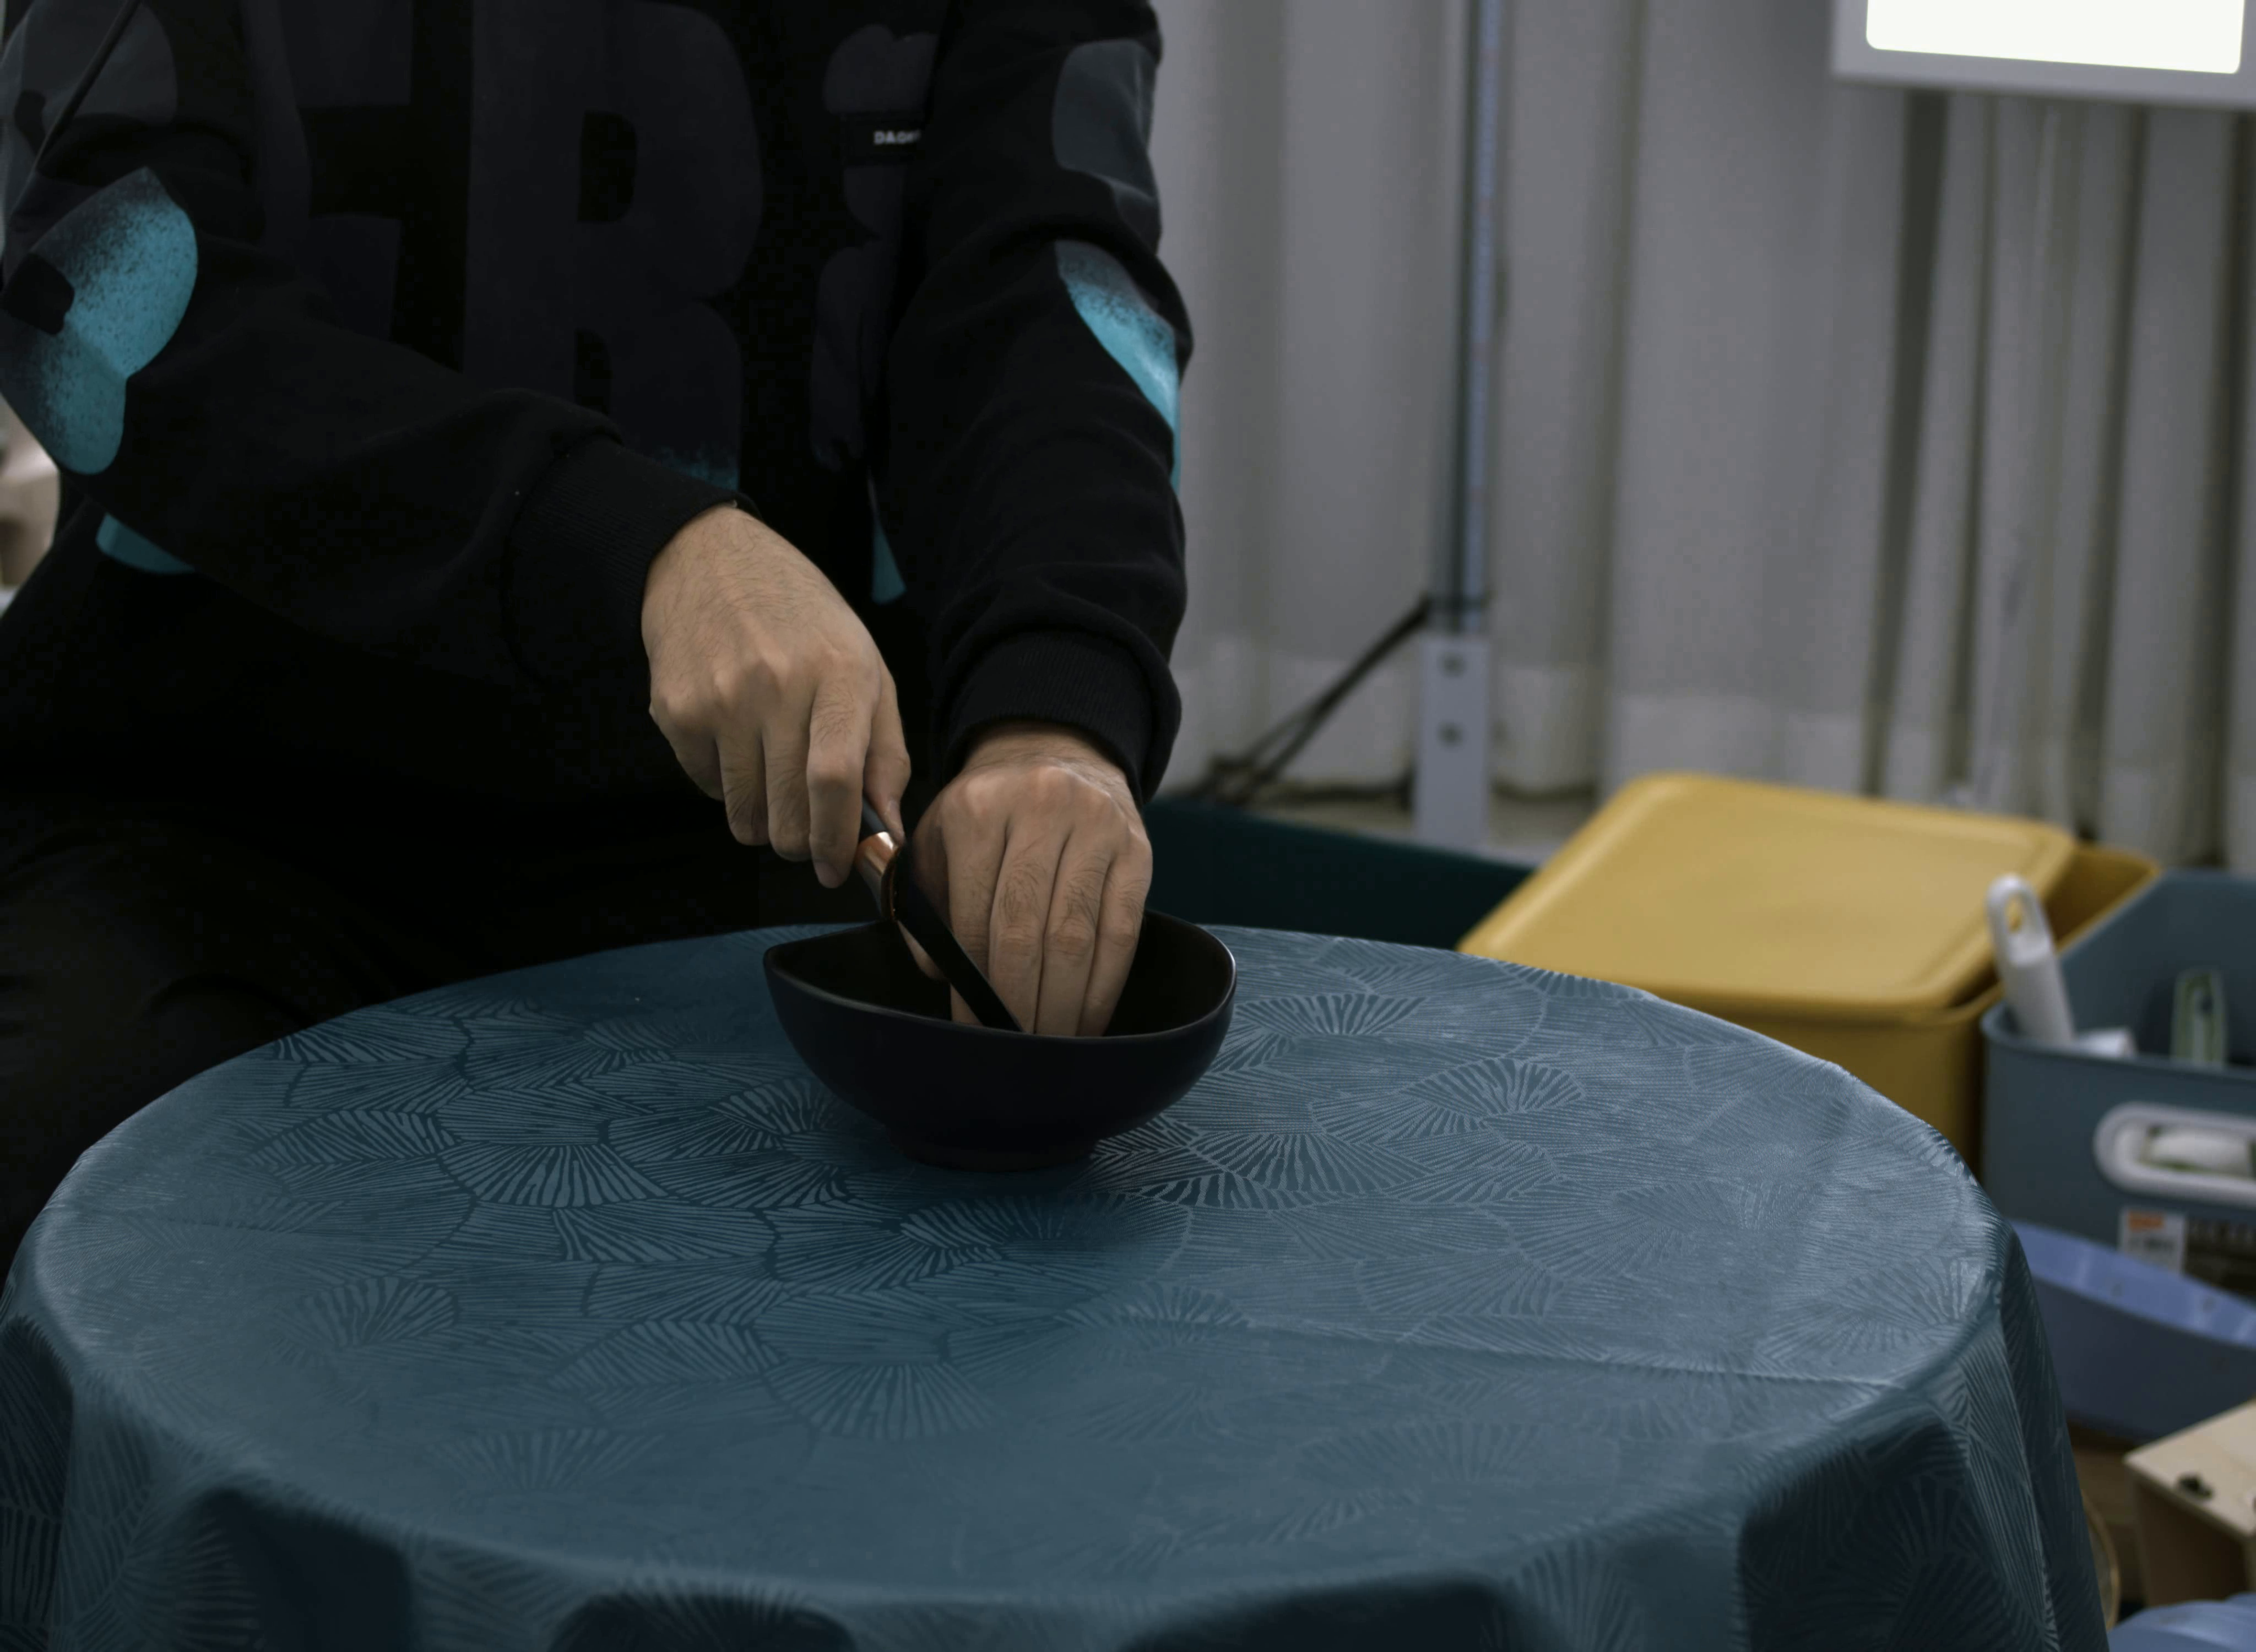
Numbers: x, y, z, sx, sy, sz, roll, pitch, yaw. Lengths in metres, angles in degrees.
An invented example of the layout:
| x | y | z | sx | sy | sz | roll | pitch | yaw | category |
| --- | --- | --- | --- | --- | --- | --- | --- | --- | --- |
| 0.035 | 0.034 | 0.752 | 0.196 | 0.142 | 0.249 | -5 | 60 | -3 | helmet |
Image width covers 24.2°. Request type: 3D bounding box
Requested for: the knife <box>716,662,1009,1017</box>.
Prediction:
| x | y | z | sx | sy | sz | roll | pitch | yaw | category |
| --- | --- | --- | --- | --- | --- | --- | --- | --- | --- |
| -0.072 | 0.023 | 1.685 | 0.017 | 0.026 | 0.223 | -25 | 54 | -21 | knife |

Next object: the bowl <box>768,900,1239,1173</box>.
| x | y | z | sx | sy | sz | roll | pitch | yaw | category |
| --- | --- | --- | --- | --- | --- | --- | --- | --- | --- |
| -0.041 | 0.069 | 1.656 | 0.138 | 0.067 | 0.168 | -13 | 18 | -40 | bowl |
